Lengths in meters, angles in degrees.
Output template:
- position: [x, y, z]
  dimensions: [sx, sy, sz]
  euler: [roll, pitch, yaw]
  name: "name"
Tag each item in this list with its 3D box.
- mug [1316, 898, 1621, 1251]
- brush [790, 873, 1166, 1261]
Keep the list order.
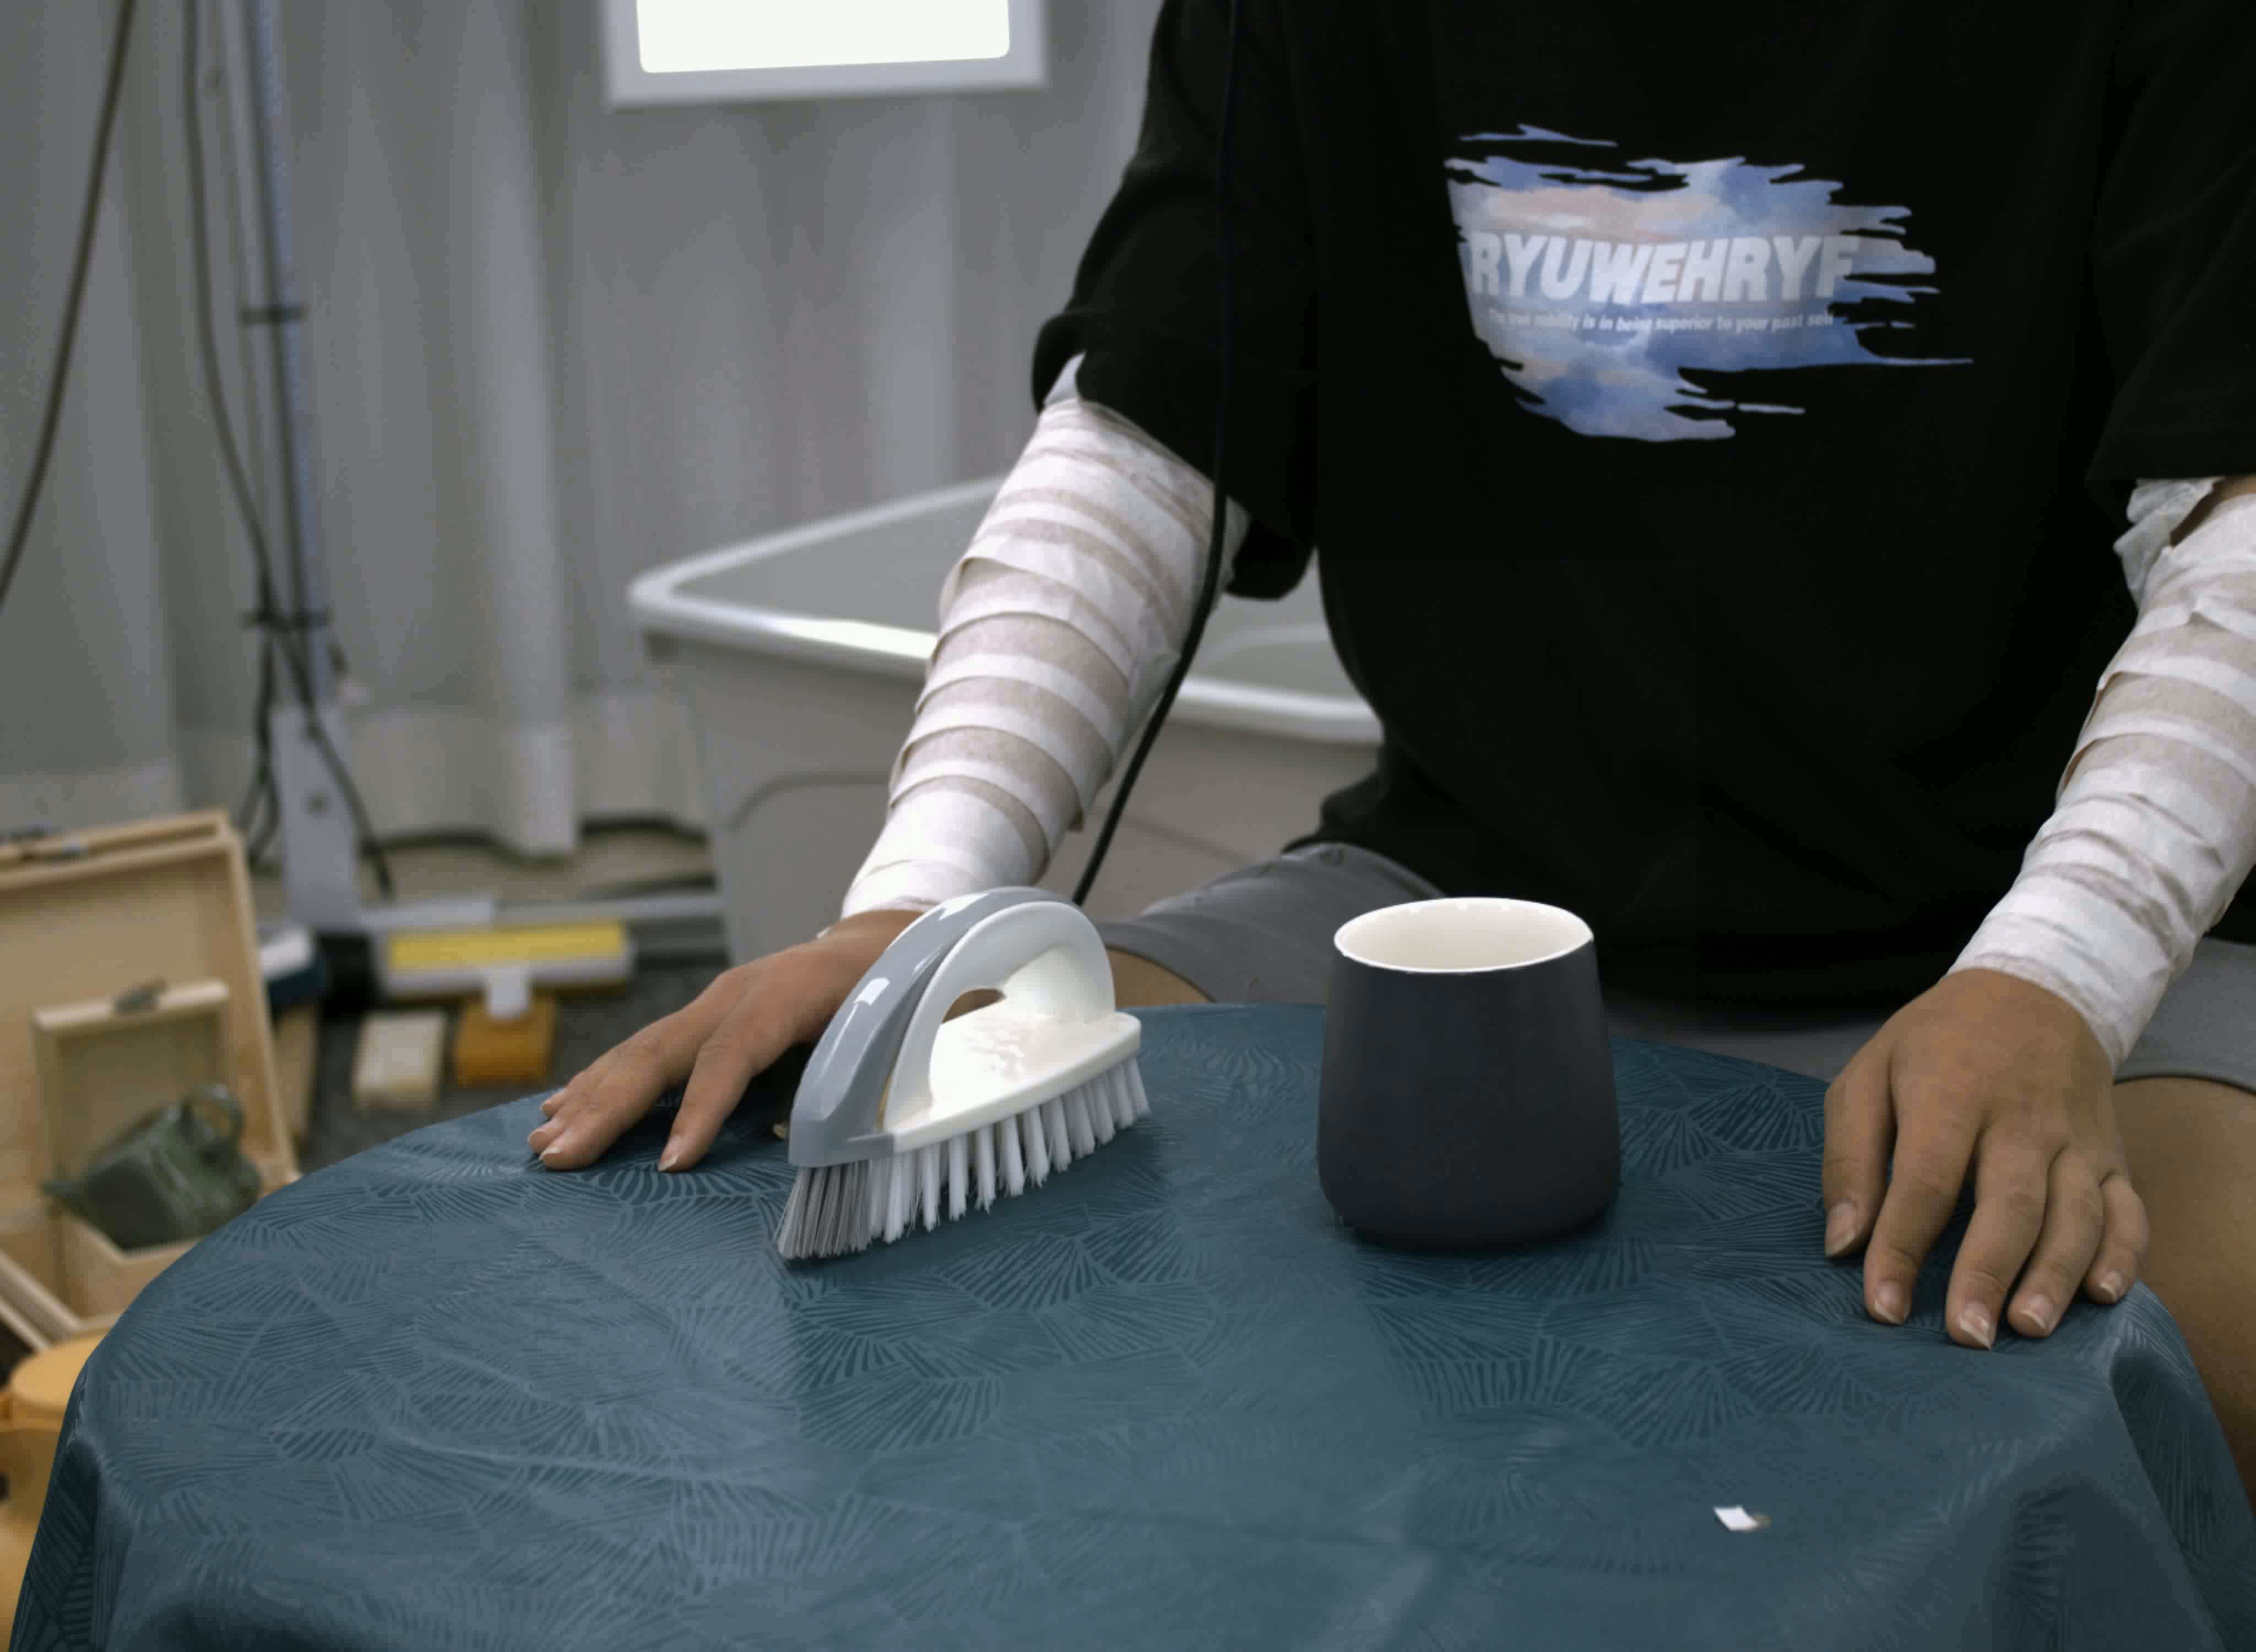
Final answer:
- position: [0.106, 0.072, 1.680]
  dimensions: [0.093, 0.089, 0.124]
  euler: [1, 15, 13]
  name: "mug"
- position: [-0.055, 0.071, 1.714]
  dimensions: [0.061, 0.094, 0.175]
  euler: [4, 17, 33]
  name: "brush"
